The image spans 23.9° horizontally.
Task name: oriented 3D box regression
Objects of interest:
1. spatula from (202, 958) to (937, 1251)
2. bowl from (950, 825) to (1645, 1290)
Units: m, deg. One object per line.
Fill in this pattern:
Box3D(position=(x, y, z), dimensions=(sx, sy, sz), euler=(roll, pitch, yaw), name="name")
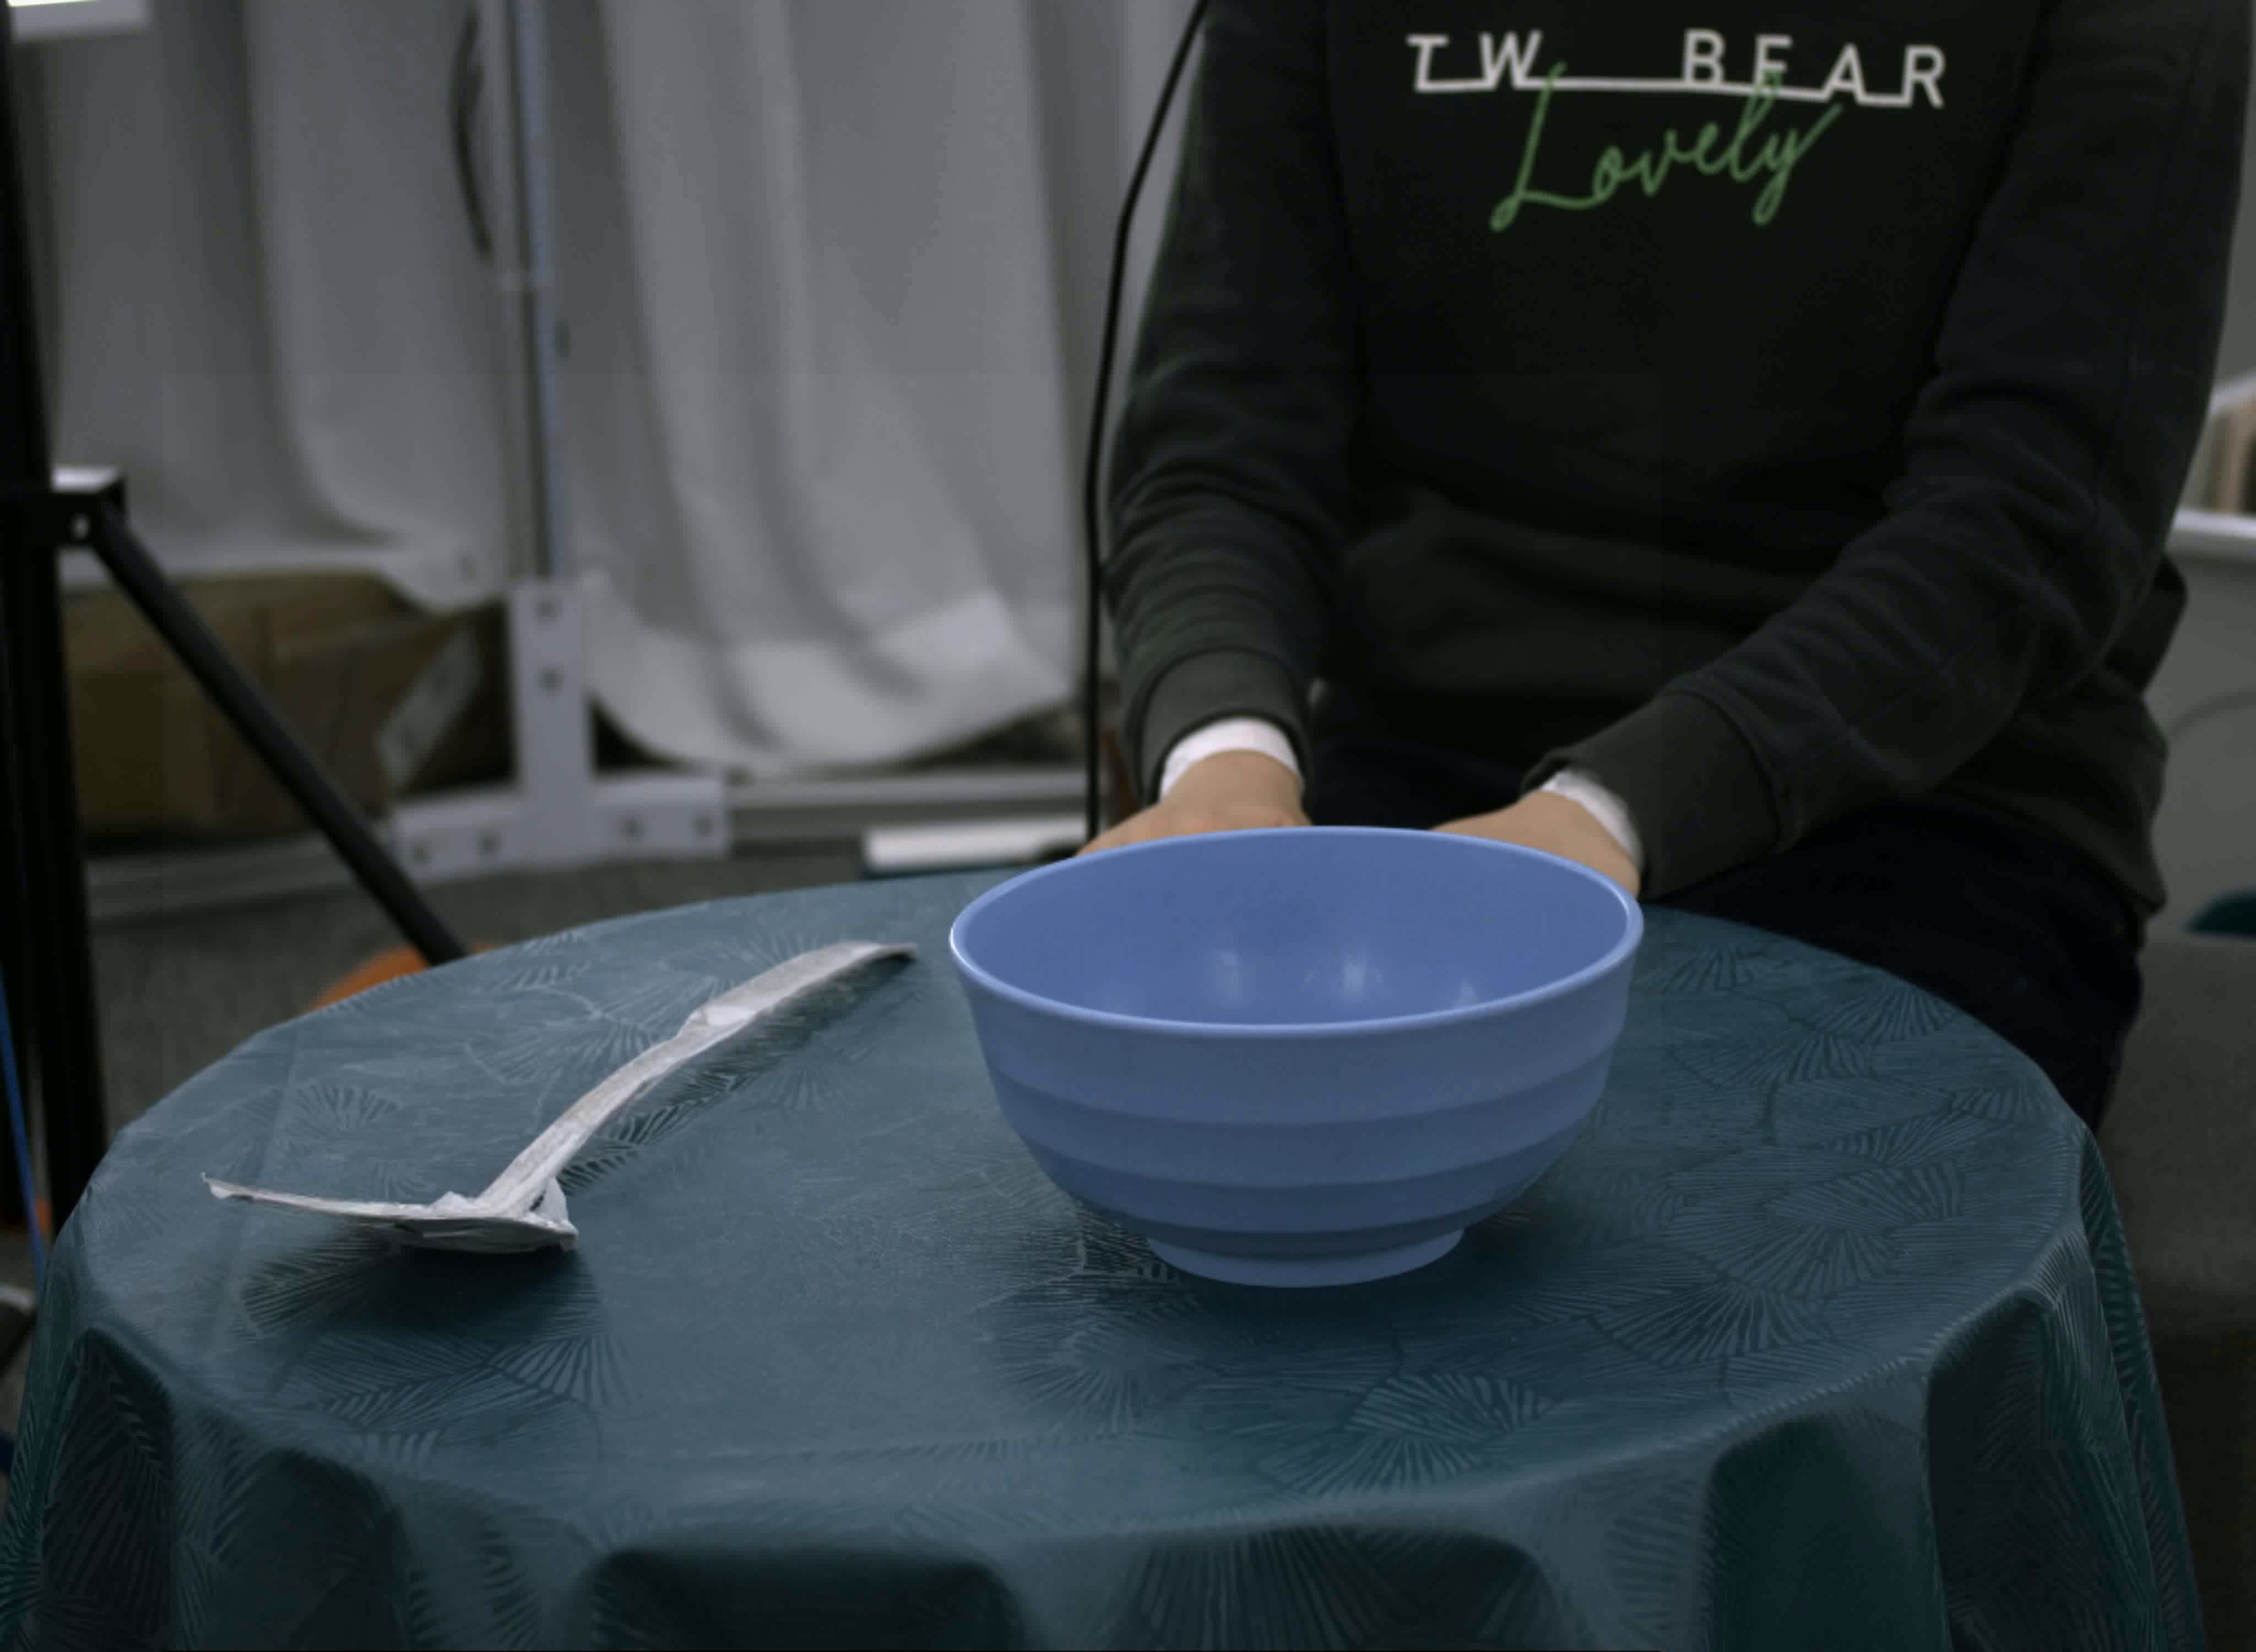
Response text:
Box3D(position=(-0.149, 0.075, 1.628), dimensions=(0.100, 0.045, 0.359), euler=(3, 17, 25), name="spatula")
Box3D(position=(0.050, 0.071, 1.505), dimensions=(0.195, 0.095, 0.197), euler=(-4, 16, 0), name="bowl")
